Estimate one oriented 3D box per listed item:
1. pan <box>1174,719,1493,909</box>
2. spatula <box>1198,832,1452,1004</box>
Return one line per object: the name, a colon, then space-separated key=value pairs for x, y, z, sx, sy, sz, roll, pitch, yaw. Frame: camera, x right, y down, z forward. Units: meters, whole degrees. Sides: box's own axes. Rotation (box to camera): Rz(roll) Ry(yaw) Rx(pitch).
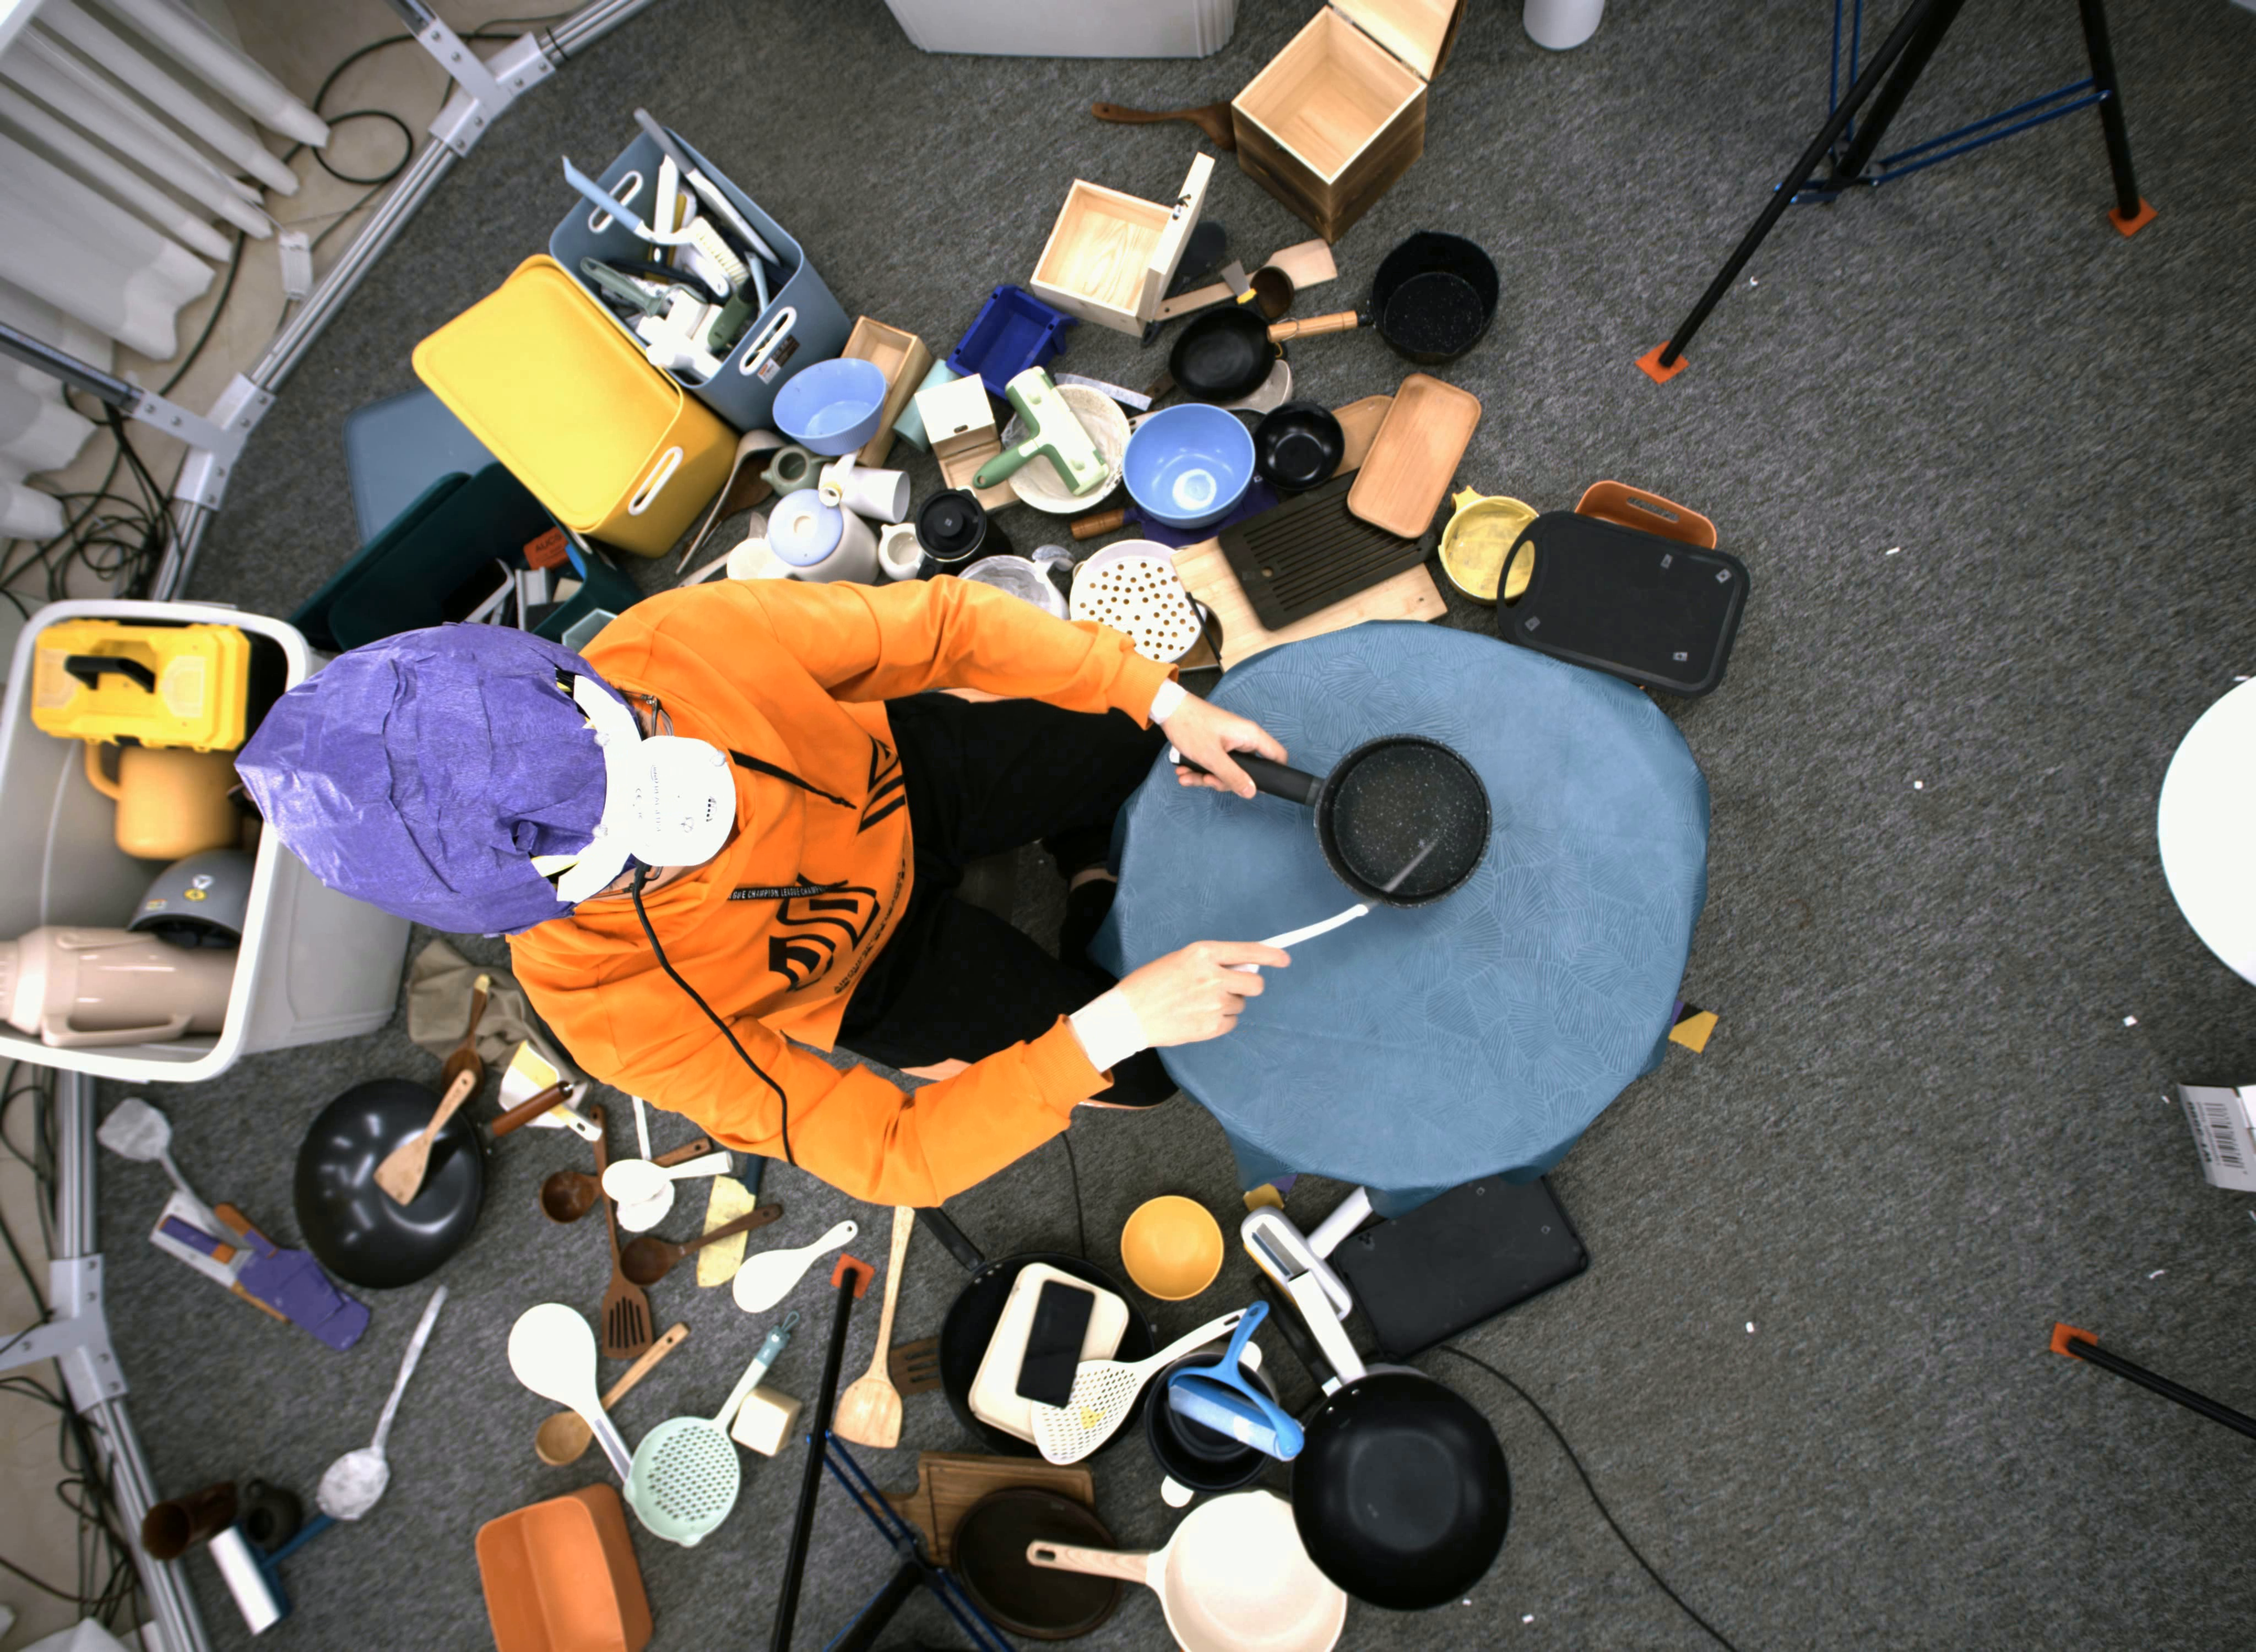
pan: x=0.205 y=-0.034 z=1.394 sx=0.328 sy=0.086 sz=0.173 roll=22 pitch=98 yaw=13
spatula: x=0.192 y=0.083 z=1.303 sx=0.285 sy=0.060 sz=0.032 roll=-29 pitch=75 yaw=-15
